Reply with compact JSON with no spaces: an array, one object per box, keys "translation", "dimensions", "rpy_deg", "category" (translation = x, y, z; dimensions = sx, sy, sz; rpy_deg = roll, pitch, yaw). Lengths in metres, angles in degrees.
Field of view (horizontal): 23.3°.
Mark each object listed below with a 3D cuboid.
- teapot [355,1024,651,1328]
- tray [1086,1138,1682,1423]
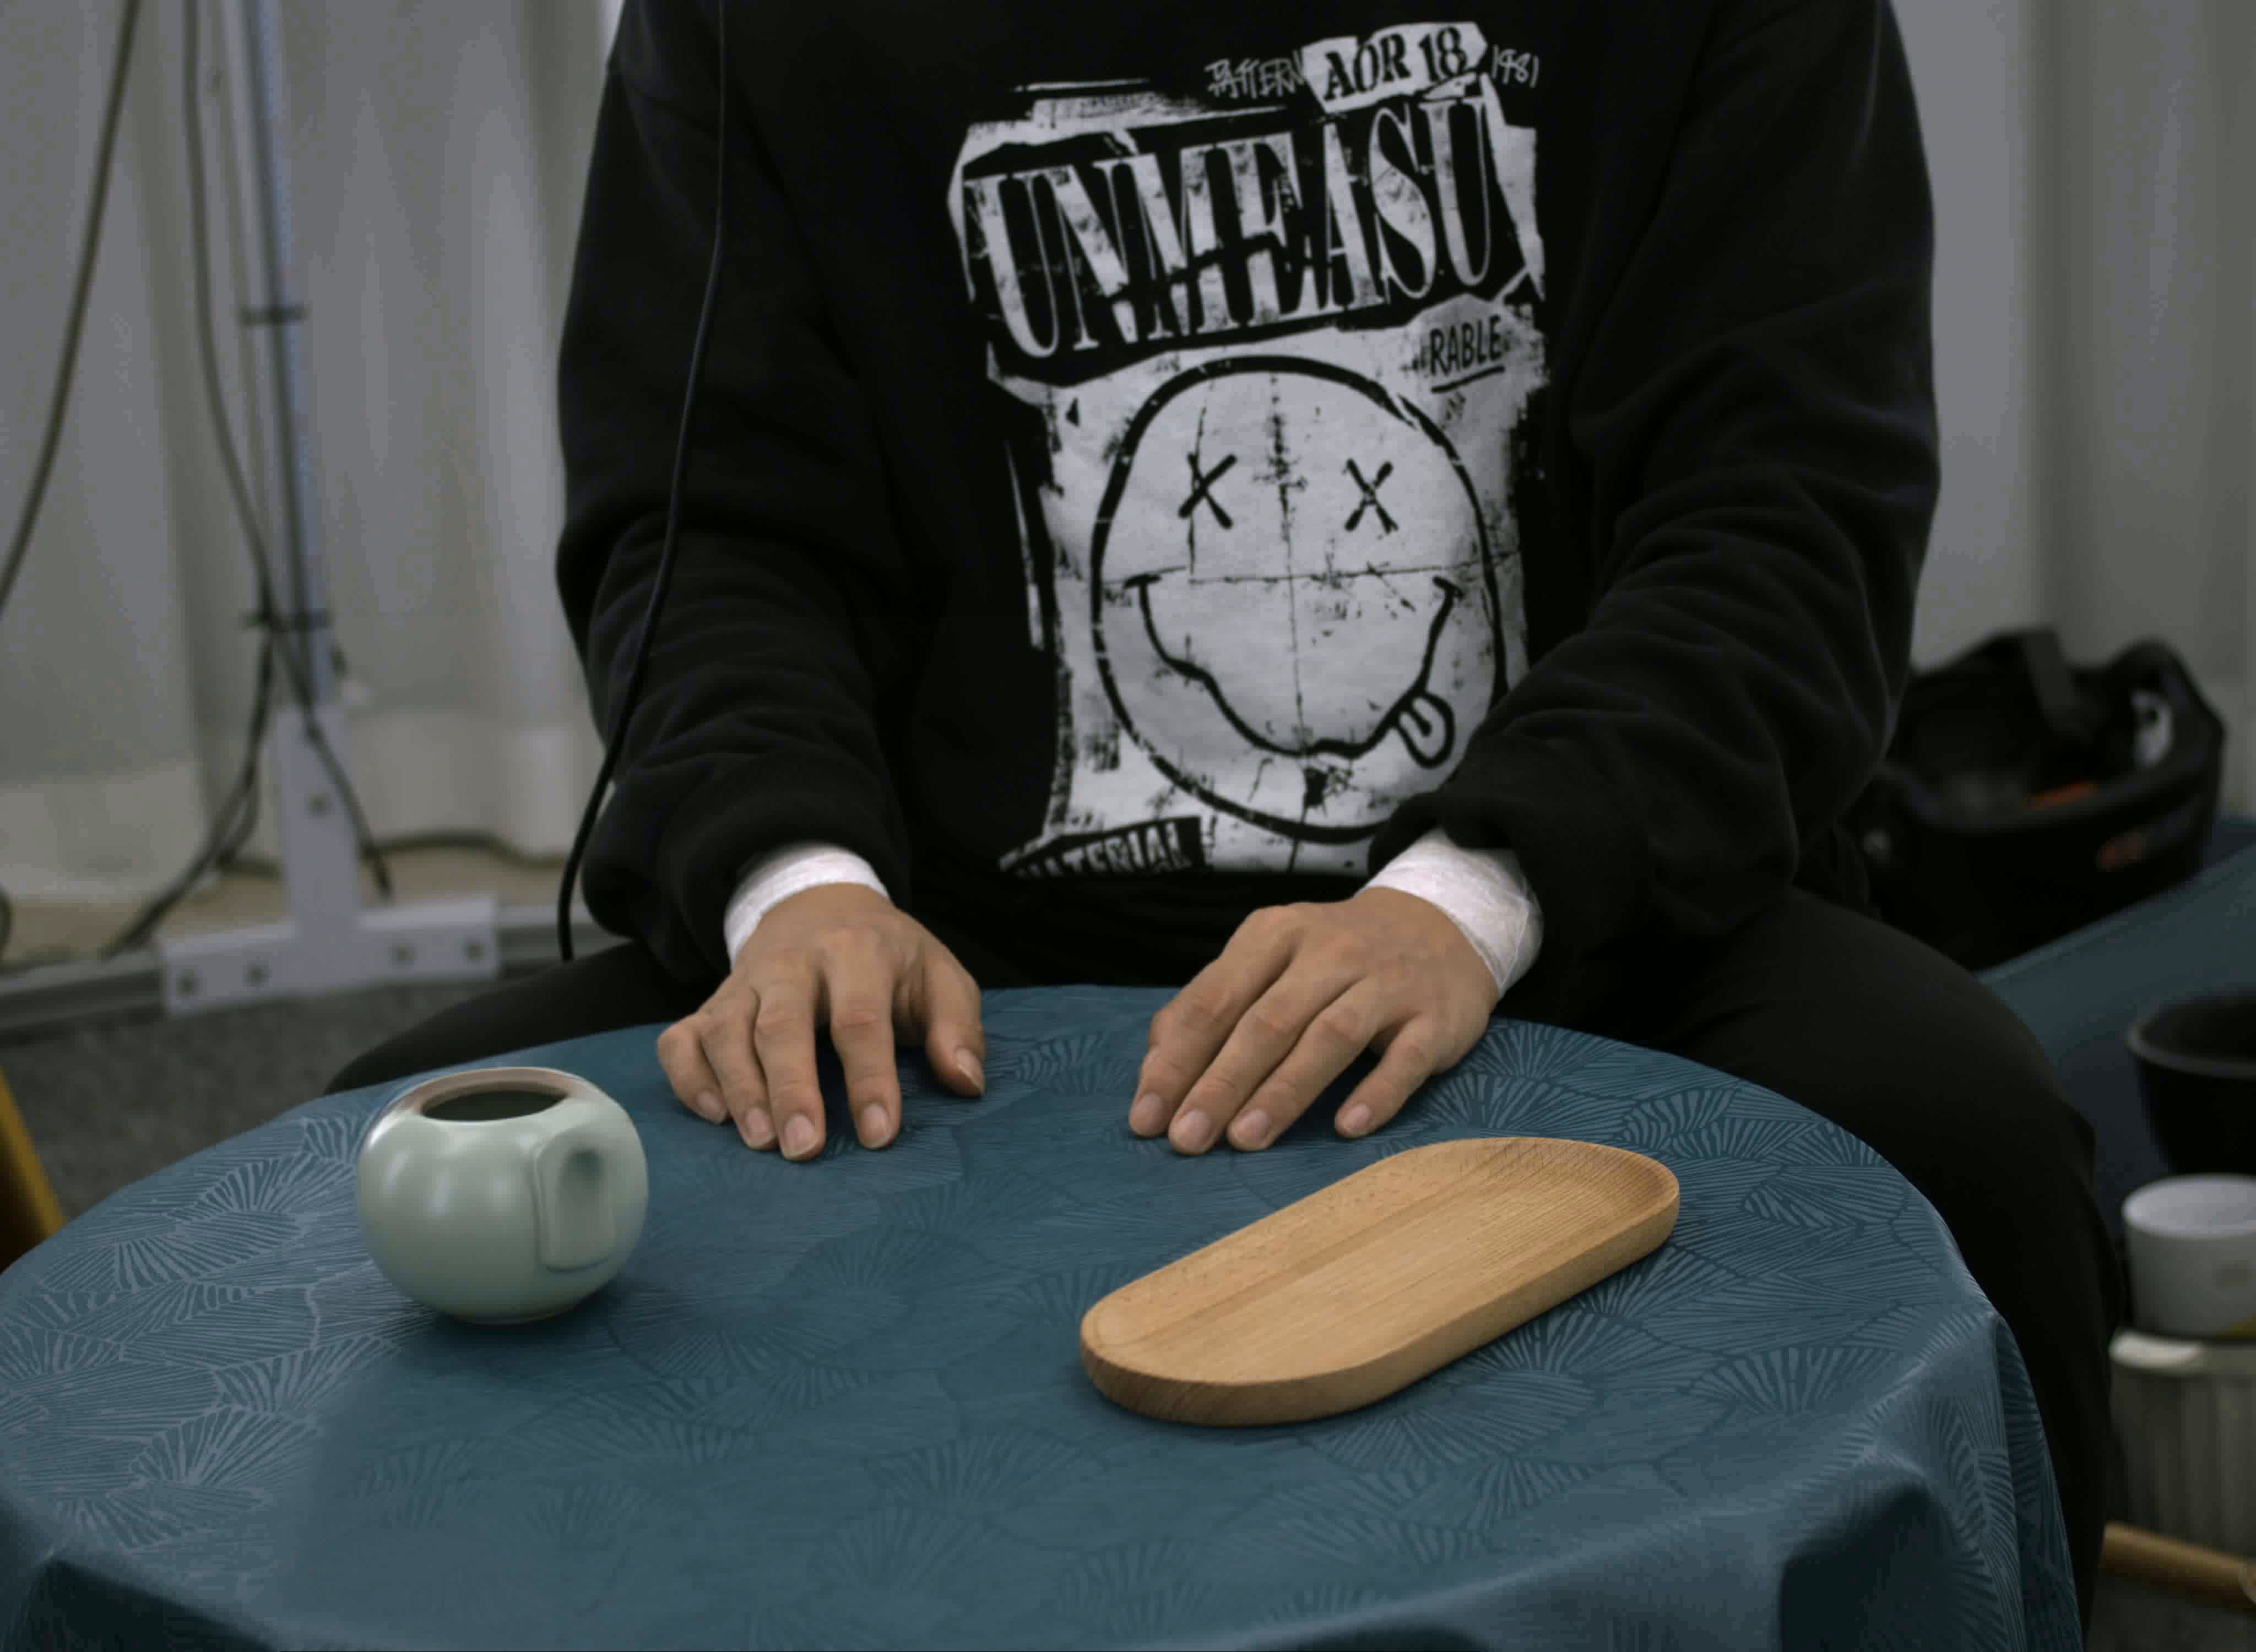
[{"translation":[-0.186,0.109,1.634],"dimensions":[0.088,0.074,0.145],"rpy_deg":[-10,17,-31],"category":"teapot"},{"translation":[0.078,0.132,1.606],"dimensions":[0.102,0.020,0.231],"rpy_deg":[10,18,36],"category":"tray"}]
